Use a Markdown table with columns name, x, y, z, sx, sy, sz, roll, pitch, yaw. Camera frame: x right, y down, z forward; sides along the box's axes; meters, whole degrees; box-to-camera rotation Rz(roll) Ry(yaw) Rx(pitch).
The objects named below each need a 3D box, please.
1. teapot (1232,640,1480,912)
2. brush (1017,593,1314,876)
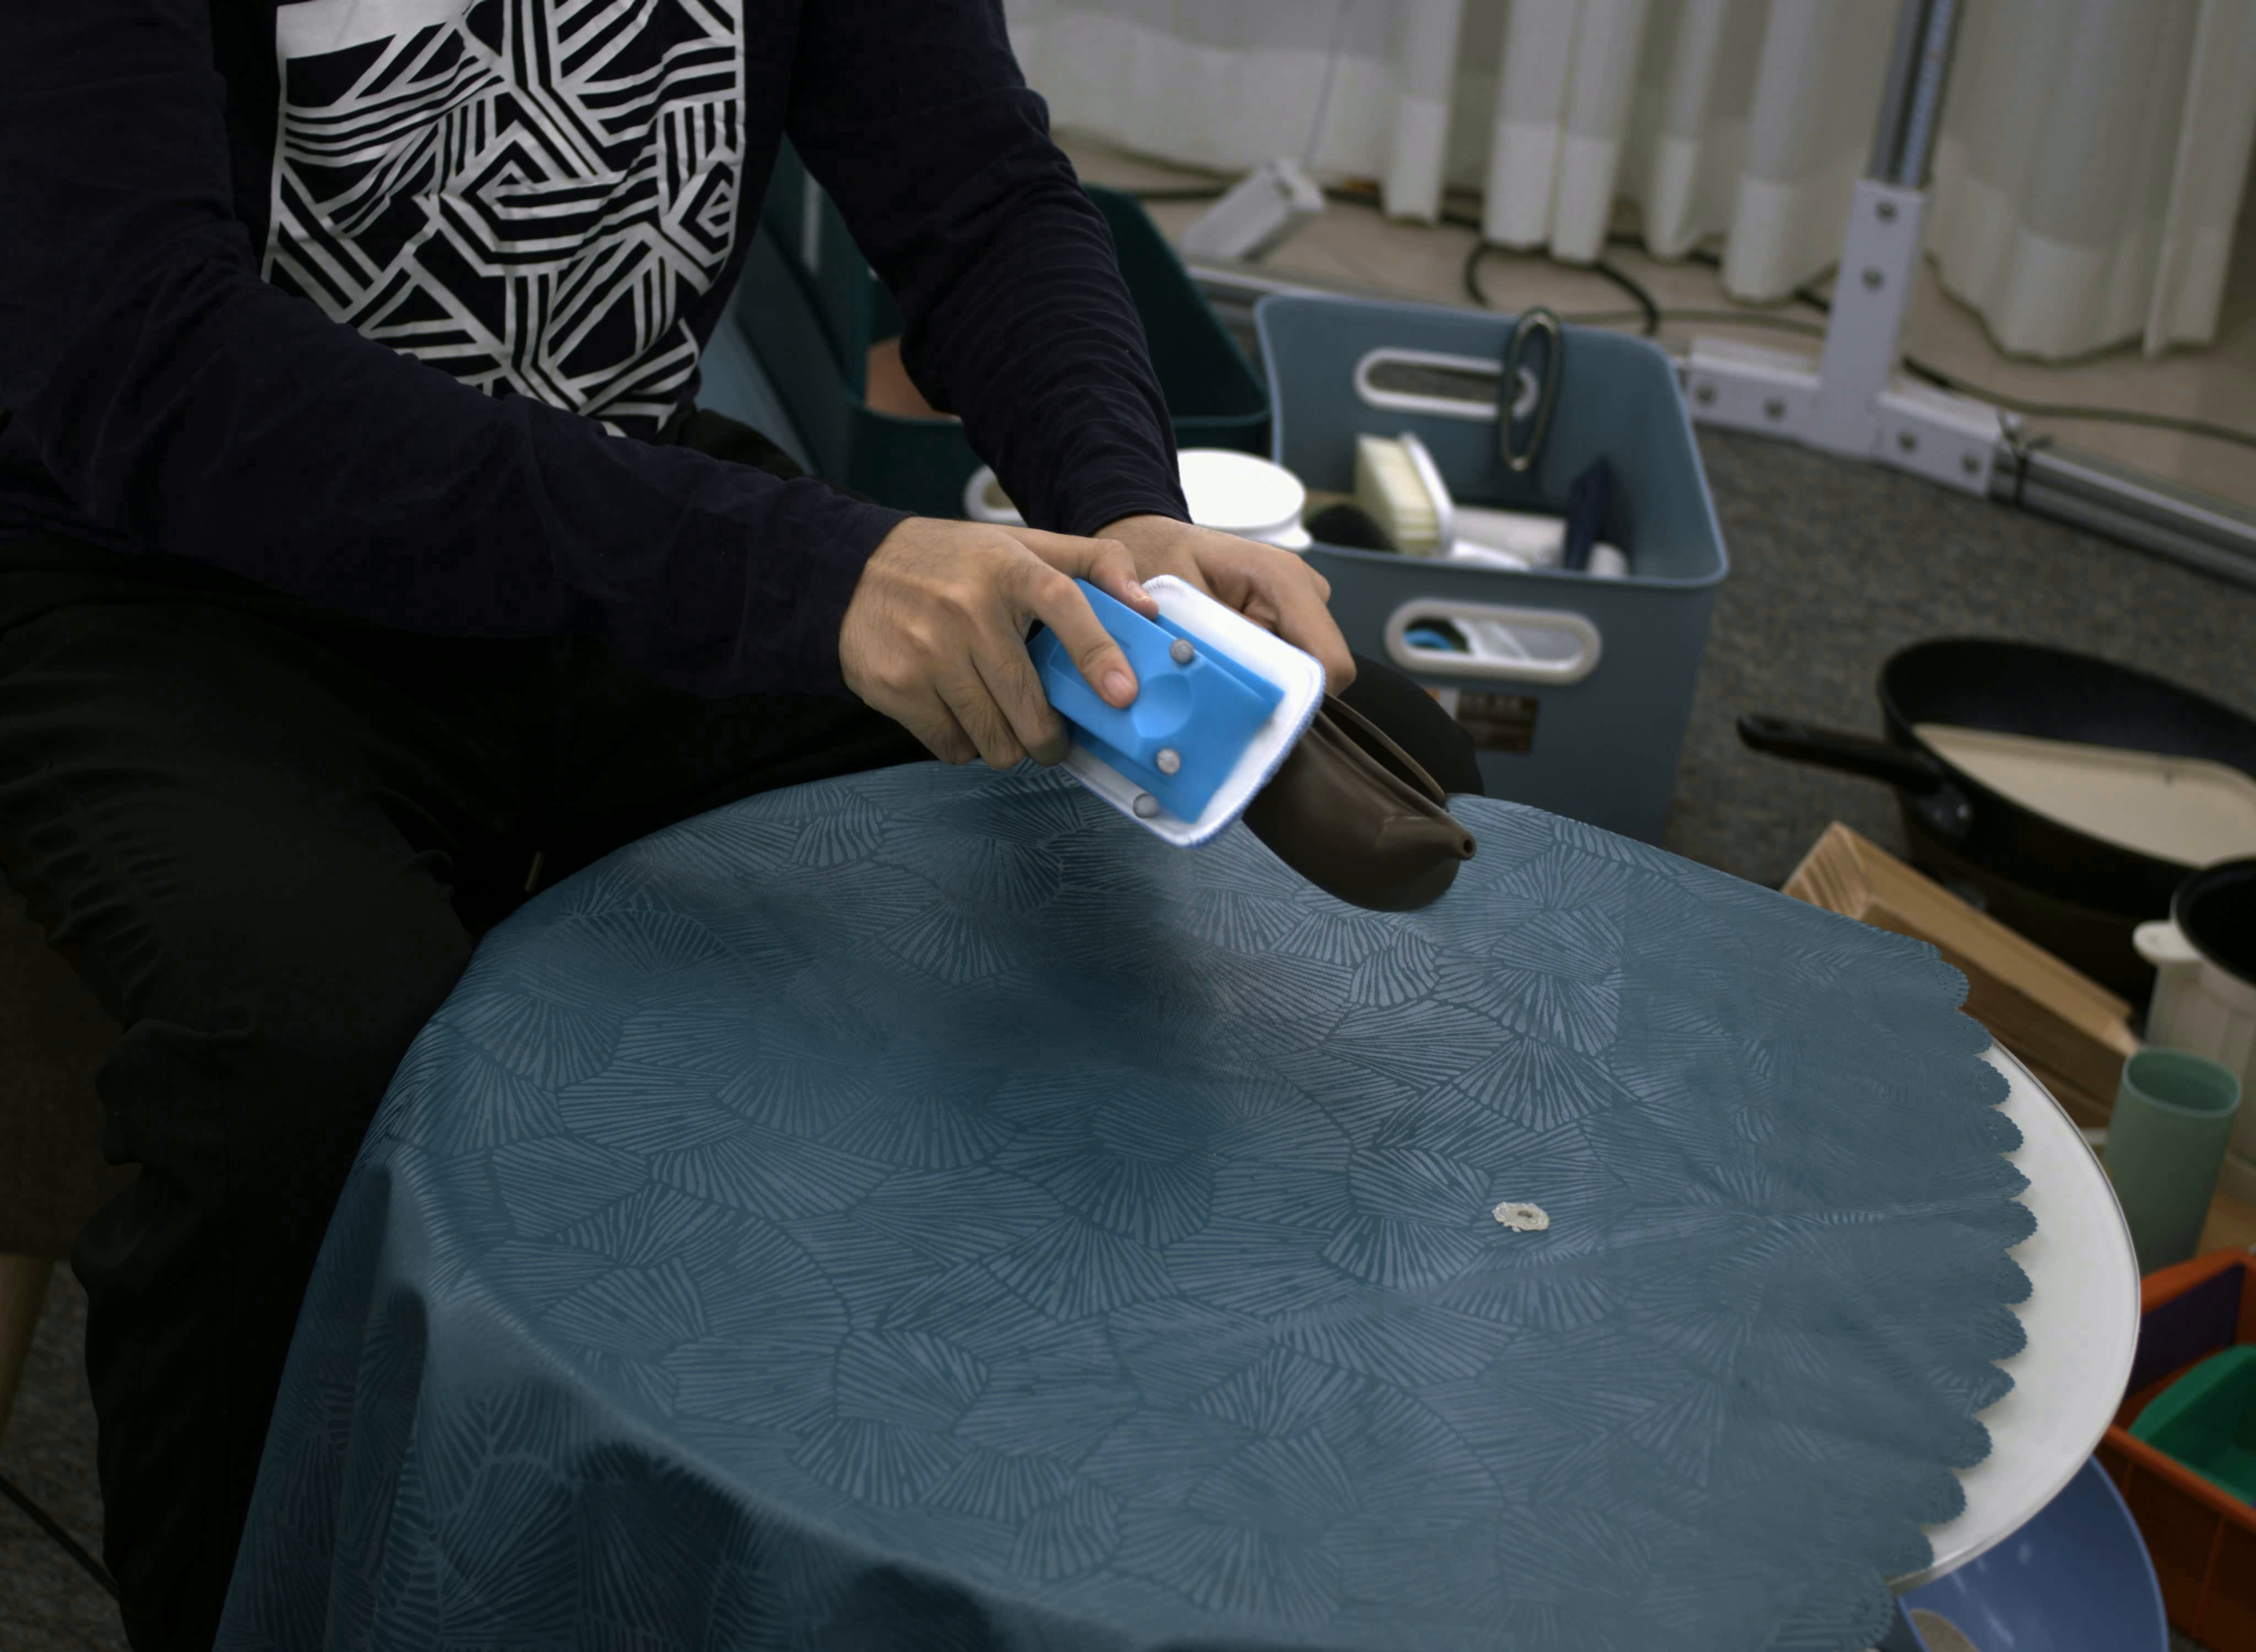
| name | x | y | z | sx | sy | sz | roll | pitch | yaw |
| --- | --- | --- | --- | --- | --- | --- | --- | --- | --- |
| teapot | 0.072 | -0.015 | 1.873 | 0.101 | 0.054 | 0.155 | 31 | 15 | -43 |
| brush | 0.005 | -0.037 | 1.868 | 0.084 | 0.055 | 0.145 | -46 | 30 | -2 |
